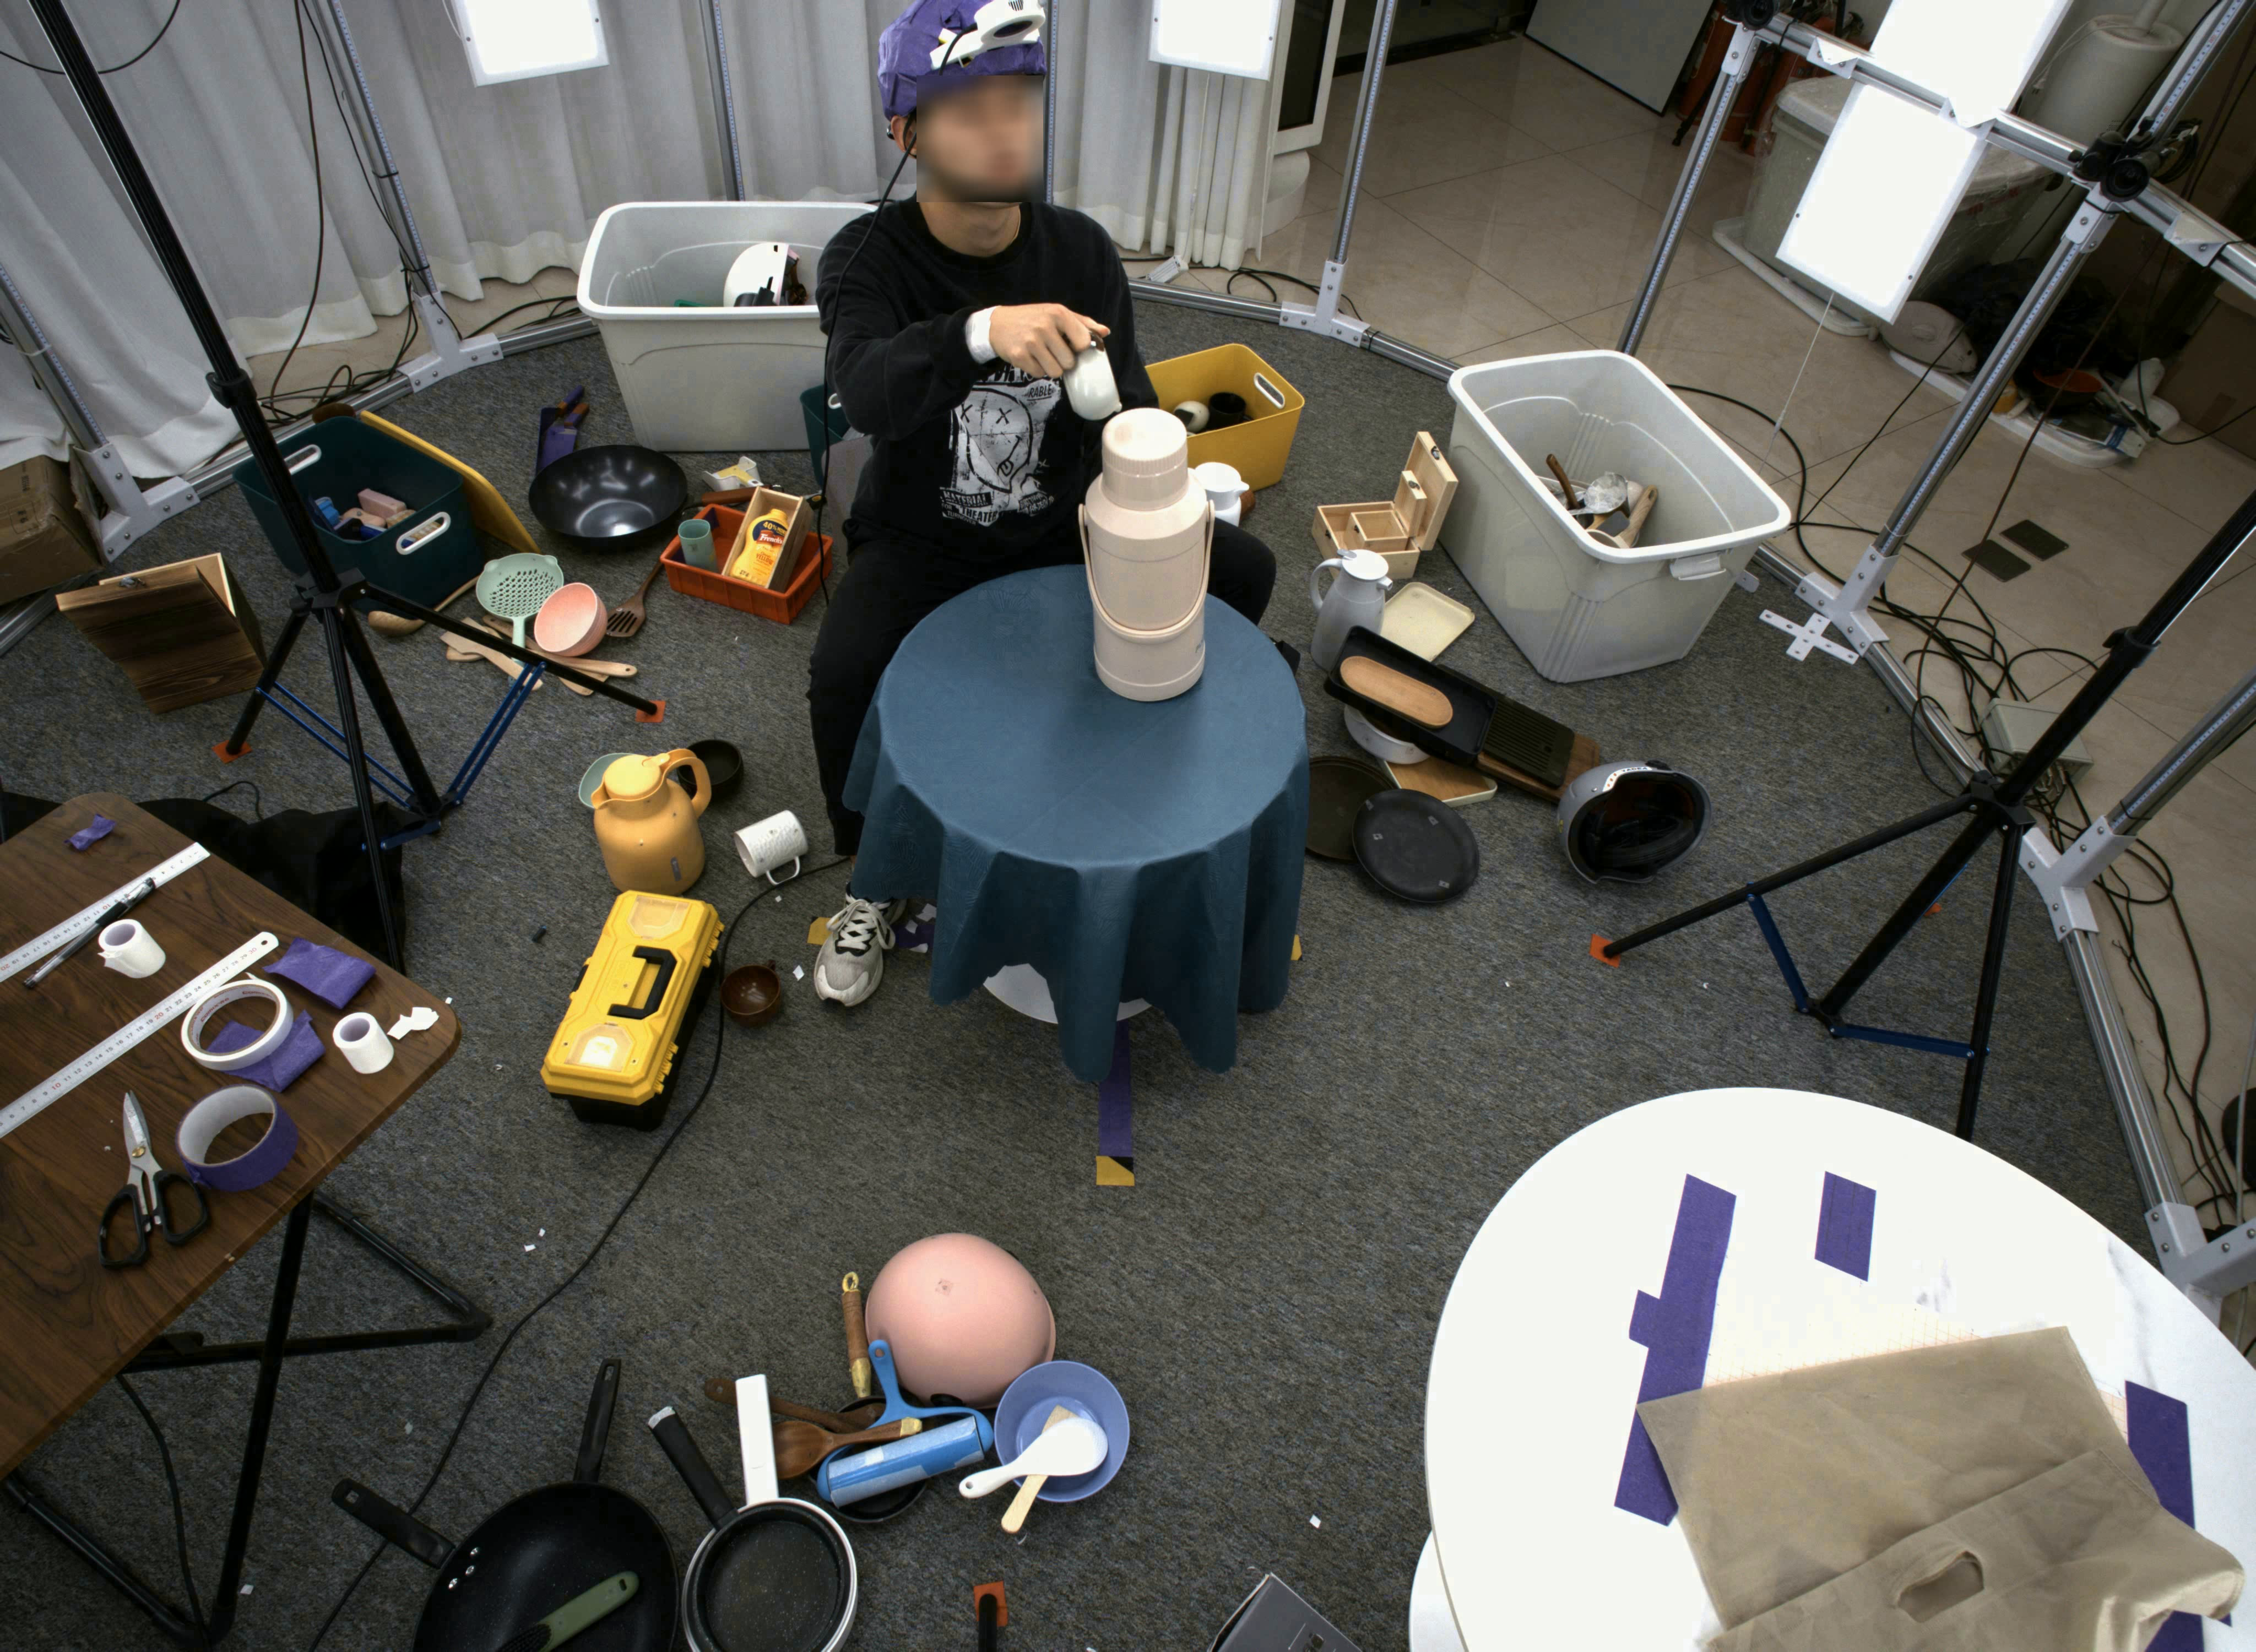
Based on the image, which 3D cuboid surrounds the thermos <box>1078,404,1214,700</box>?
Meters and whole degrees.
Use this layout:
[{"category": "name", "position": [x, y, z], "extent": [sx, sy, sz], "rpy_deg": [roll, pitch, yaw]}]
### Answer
[{"category": "thermos", "position": [0.028, -0.371, 1.728], "extent": [0.175, 0.396, 0.212], "rpy_deg": [-3, 52, 2]}]

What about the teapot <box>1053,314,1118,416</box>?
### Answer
[{"category": "teapot", "position": [-0.051, -0.529, 1.500], "extent": [0.059, 0.125, 0.094], "rpy_deg": [-12, 56, 7]}]
